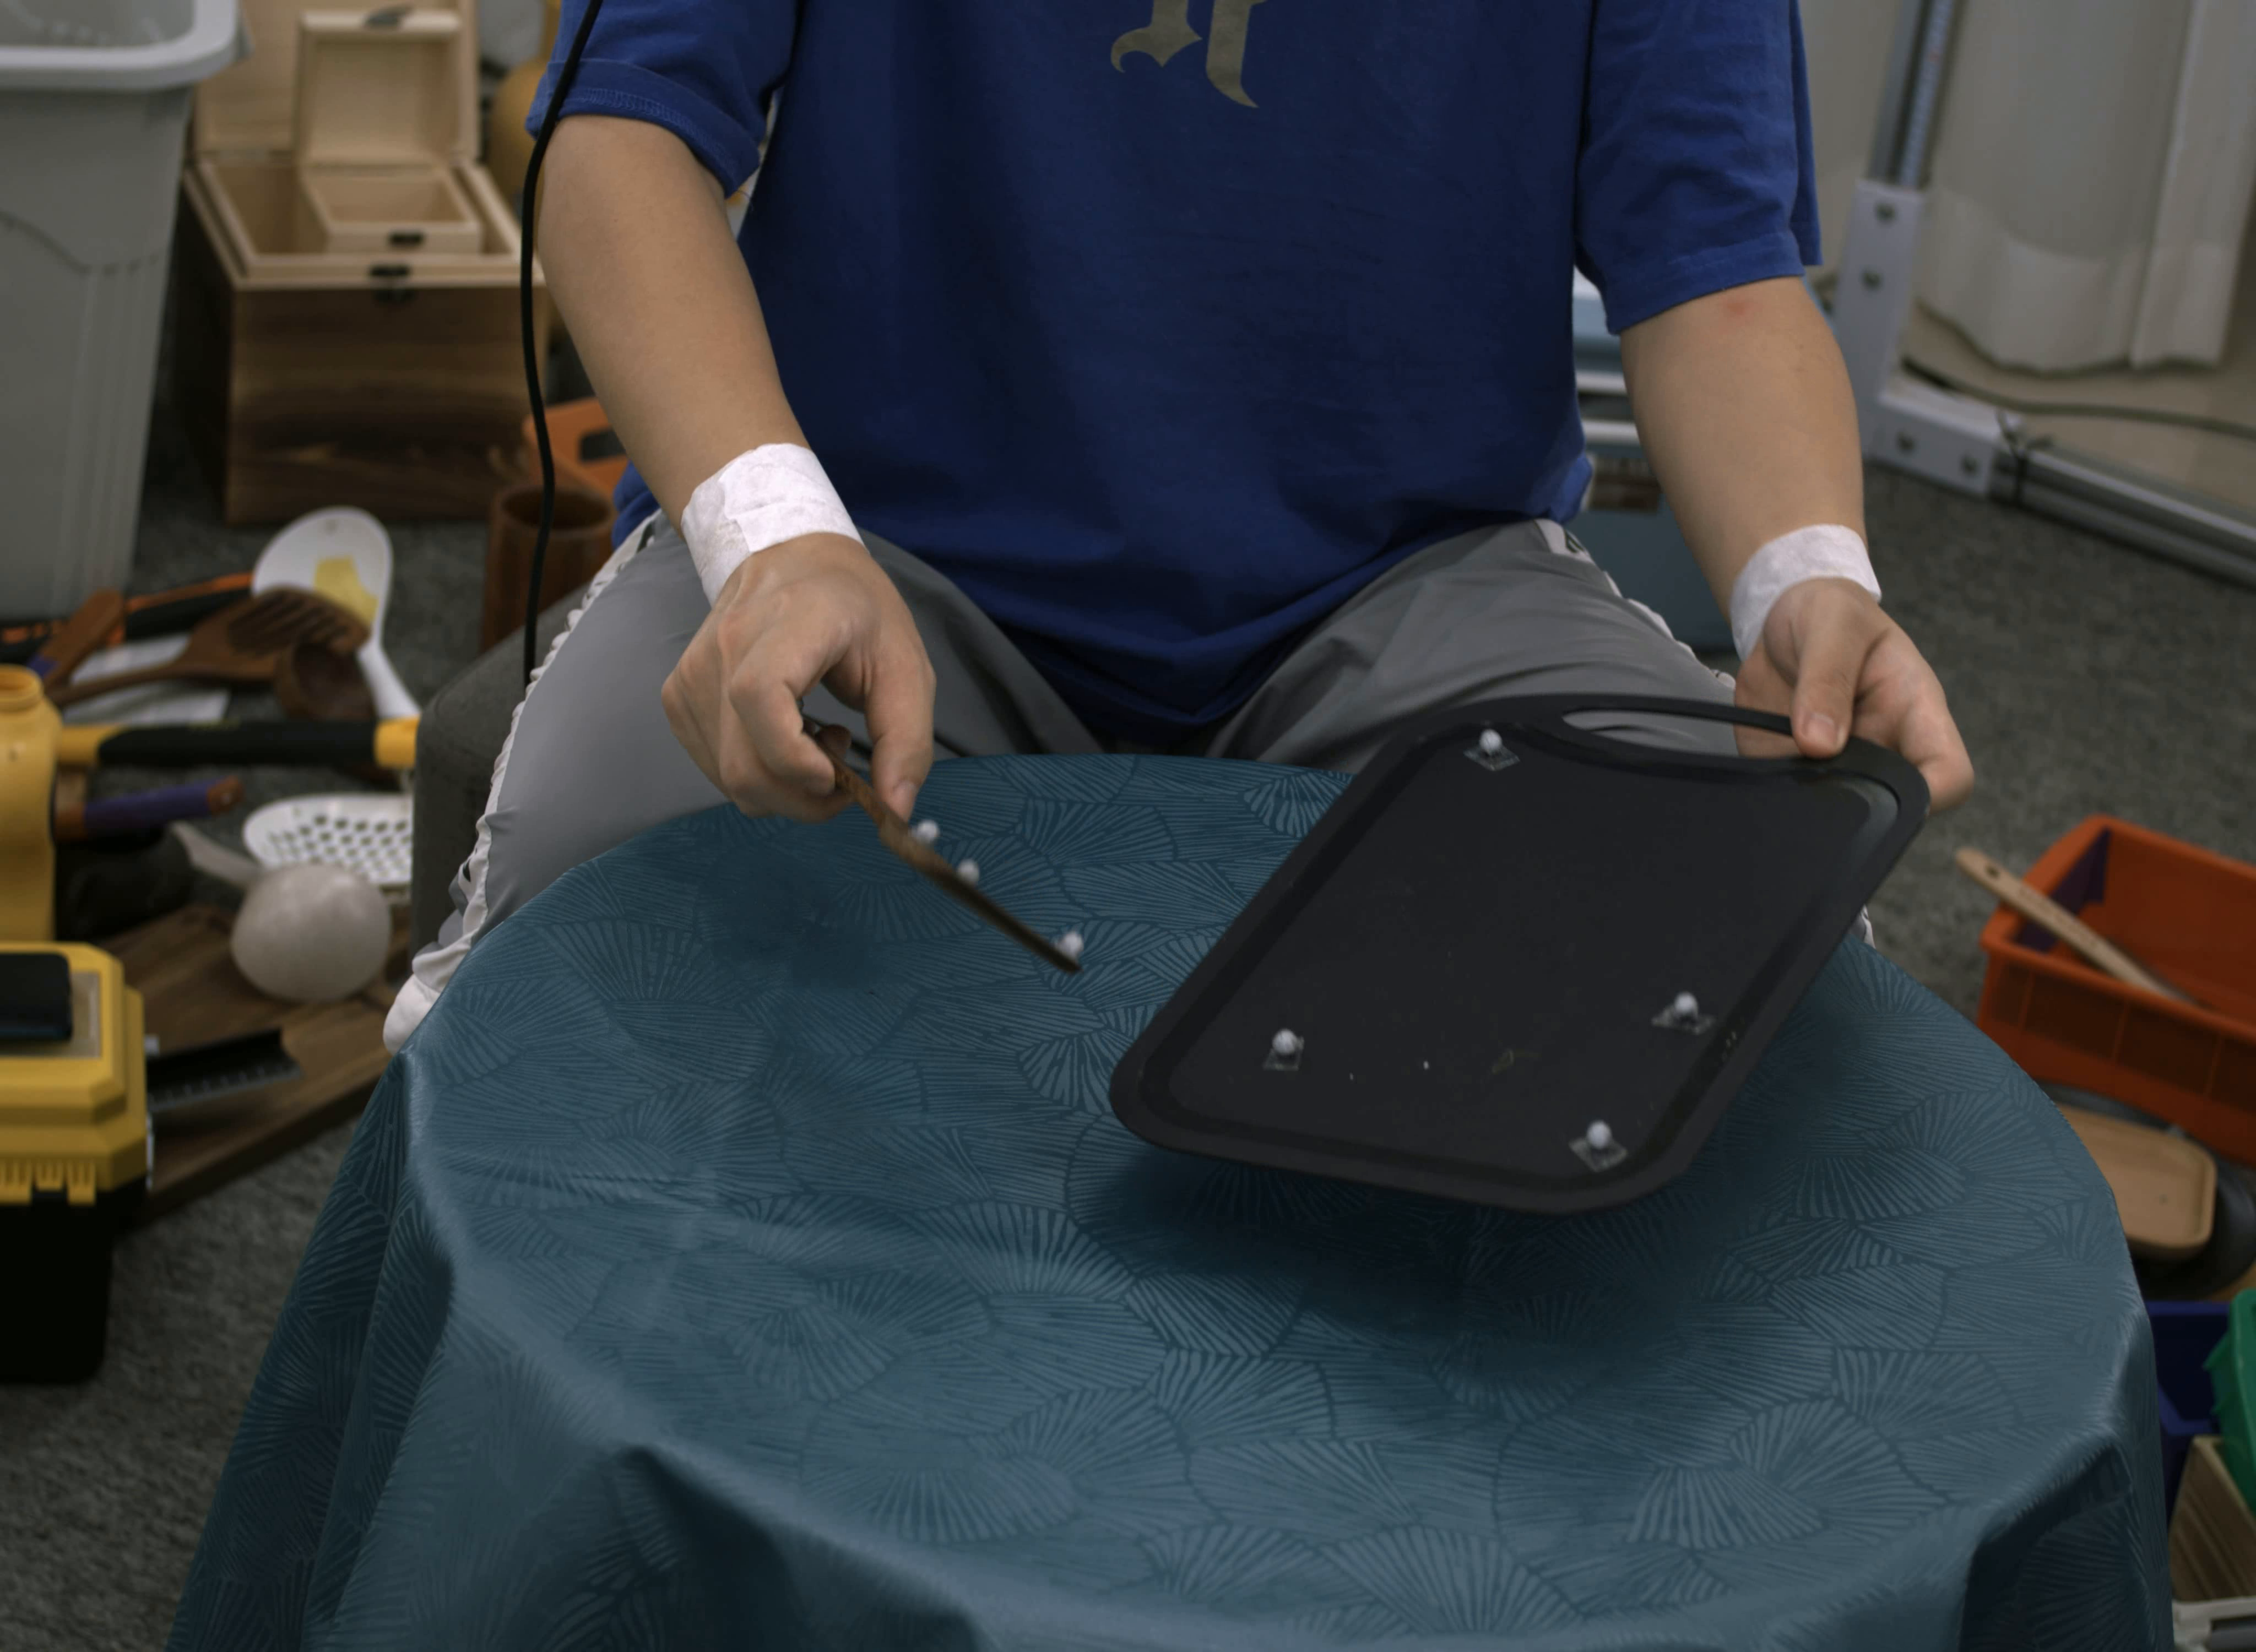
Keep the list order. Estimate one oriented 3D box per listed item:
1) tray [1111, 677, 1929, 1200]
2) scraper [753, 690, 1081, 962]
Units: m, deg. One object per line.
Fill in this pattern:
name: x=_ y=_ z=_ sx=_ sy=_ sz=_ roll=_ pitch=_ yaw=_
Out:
tray: x=0.142 y=0.028 z=1.843 sx=0.212 sy=0.010 sz=0.325 roll=8 pitch=34 yaw=27
scraper: x=-0.083 y=-0.006 z=1.829 sx=0.075 sy=0.011 sz=0.213 roll=40 pitch=0 yaw=-33
